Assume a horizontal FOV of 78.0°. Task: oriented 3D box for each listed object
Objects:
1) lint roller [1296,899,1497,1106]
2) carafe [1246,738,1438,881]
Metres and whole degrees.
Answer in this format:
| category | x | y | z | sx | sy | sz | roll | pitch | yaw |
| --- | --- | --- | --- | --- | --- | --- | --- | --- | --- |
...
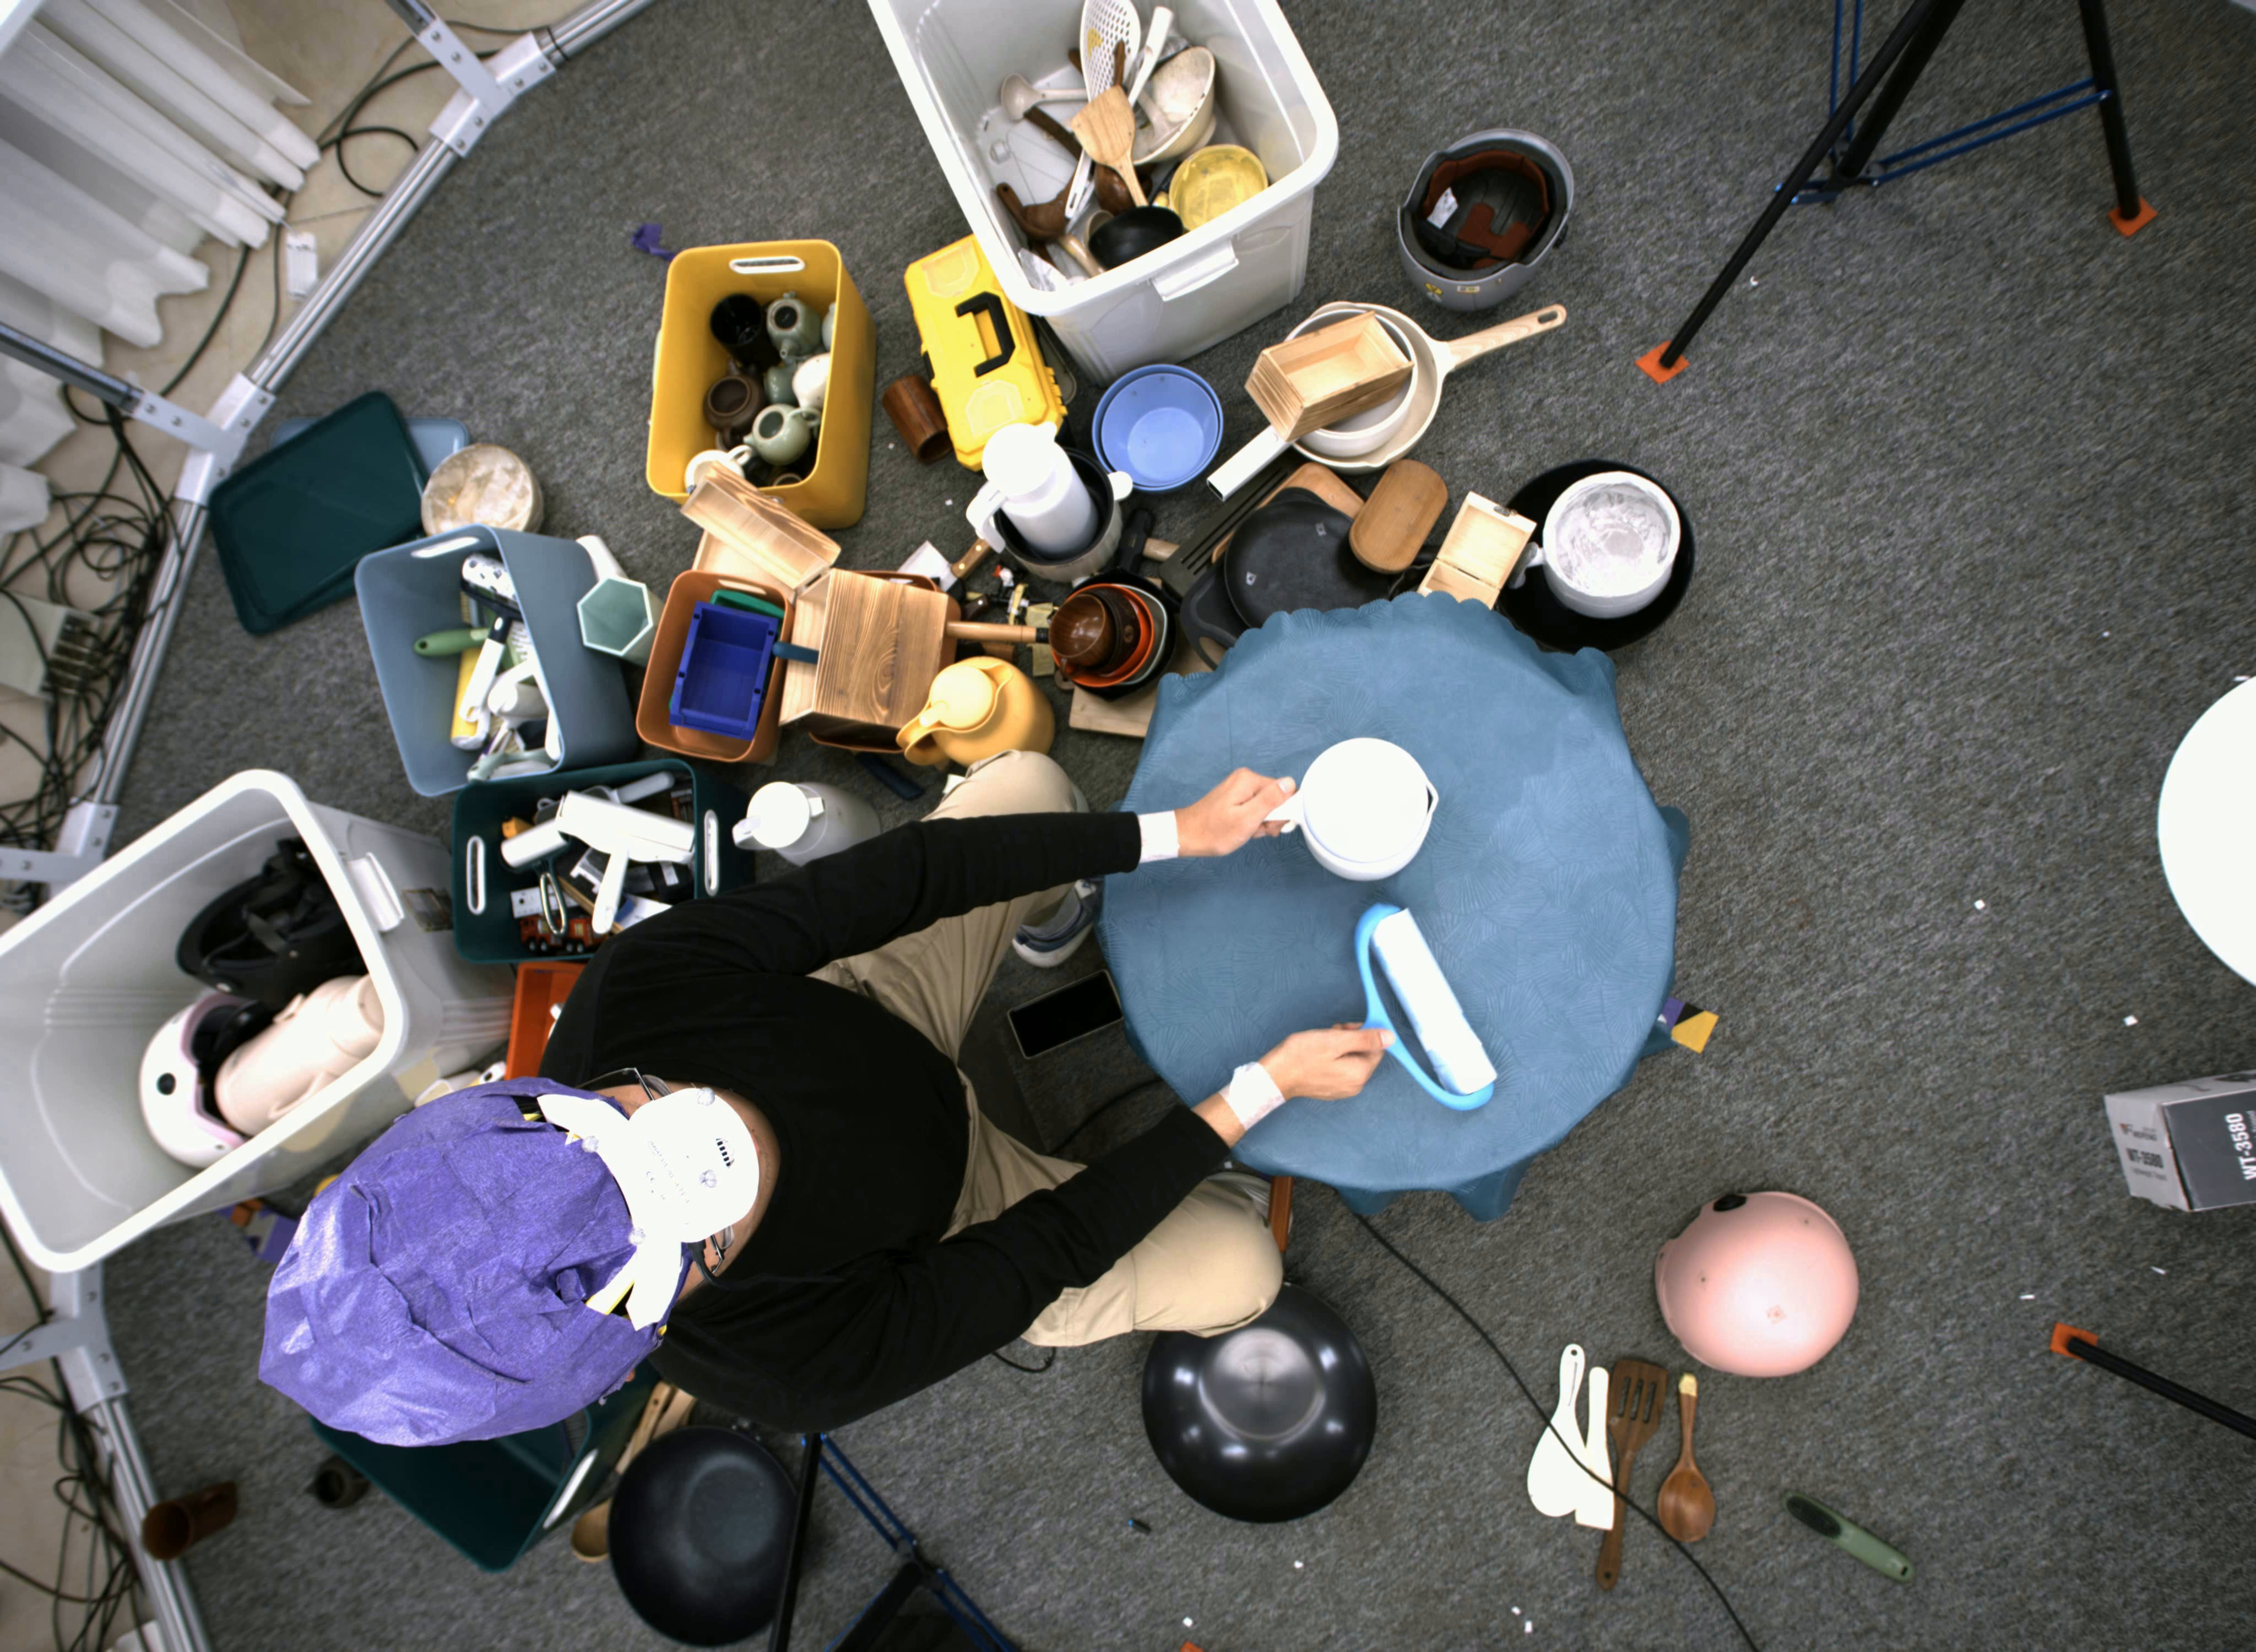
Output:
| category | x | y | z | sx | sy | sz | roll | pitch | yaw |
| --- | --- | --- | --- | --- | --- | --- | --- | --- | --- |
| lint roller | 0.258 | 0.207 | 1.419 | 0.180 | 0.068 | 0.228 | -29 | 86 | -1 |
| carafe | 0.213 | -0.014 | 1.388 | 0.192 | 0.183 | 0.131 | -5 | 84 | 11 |
